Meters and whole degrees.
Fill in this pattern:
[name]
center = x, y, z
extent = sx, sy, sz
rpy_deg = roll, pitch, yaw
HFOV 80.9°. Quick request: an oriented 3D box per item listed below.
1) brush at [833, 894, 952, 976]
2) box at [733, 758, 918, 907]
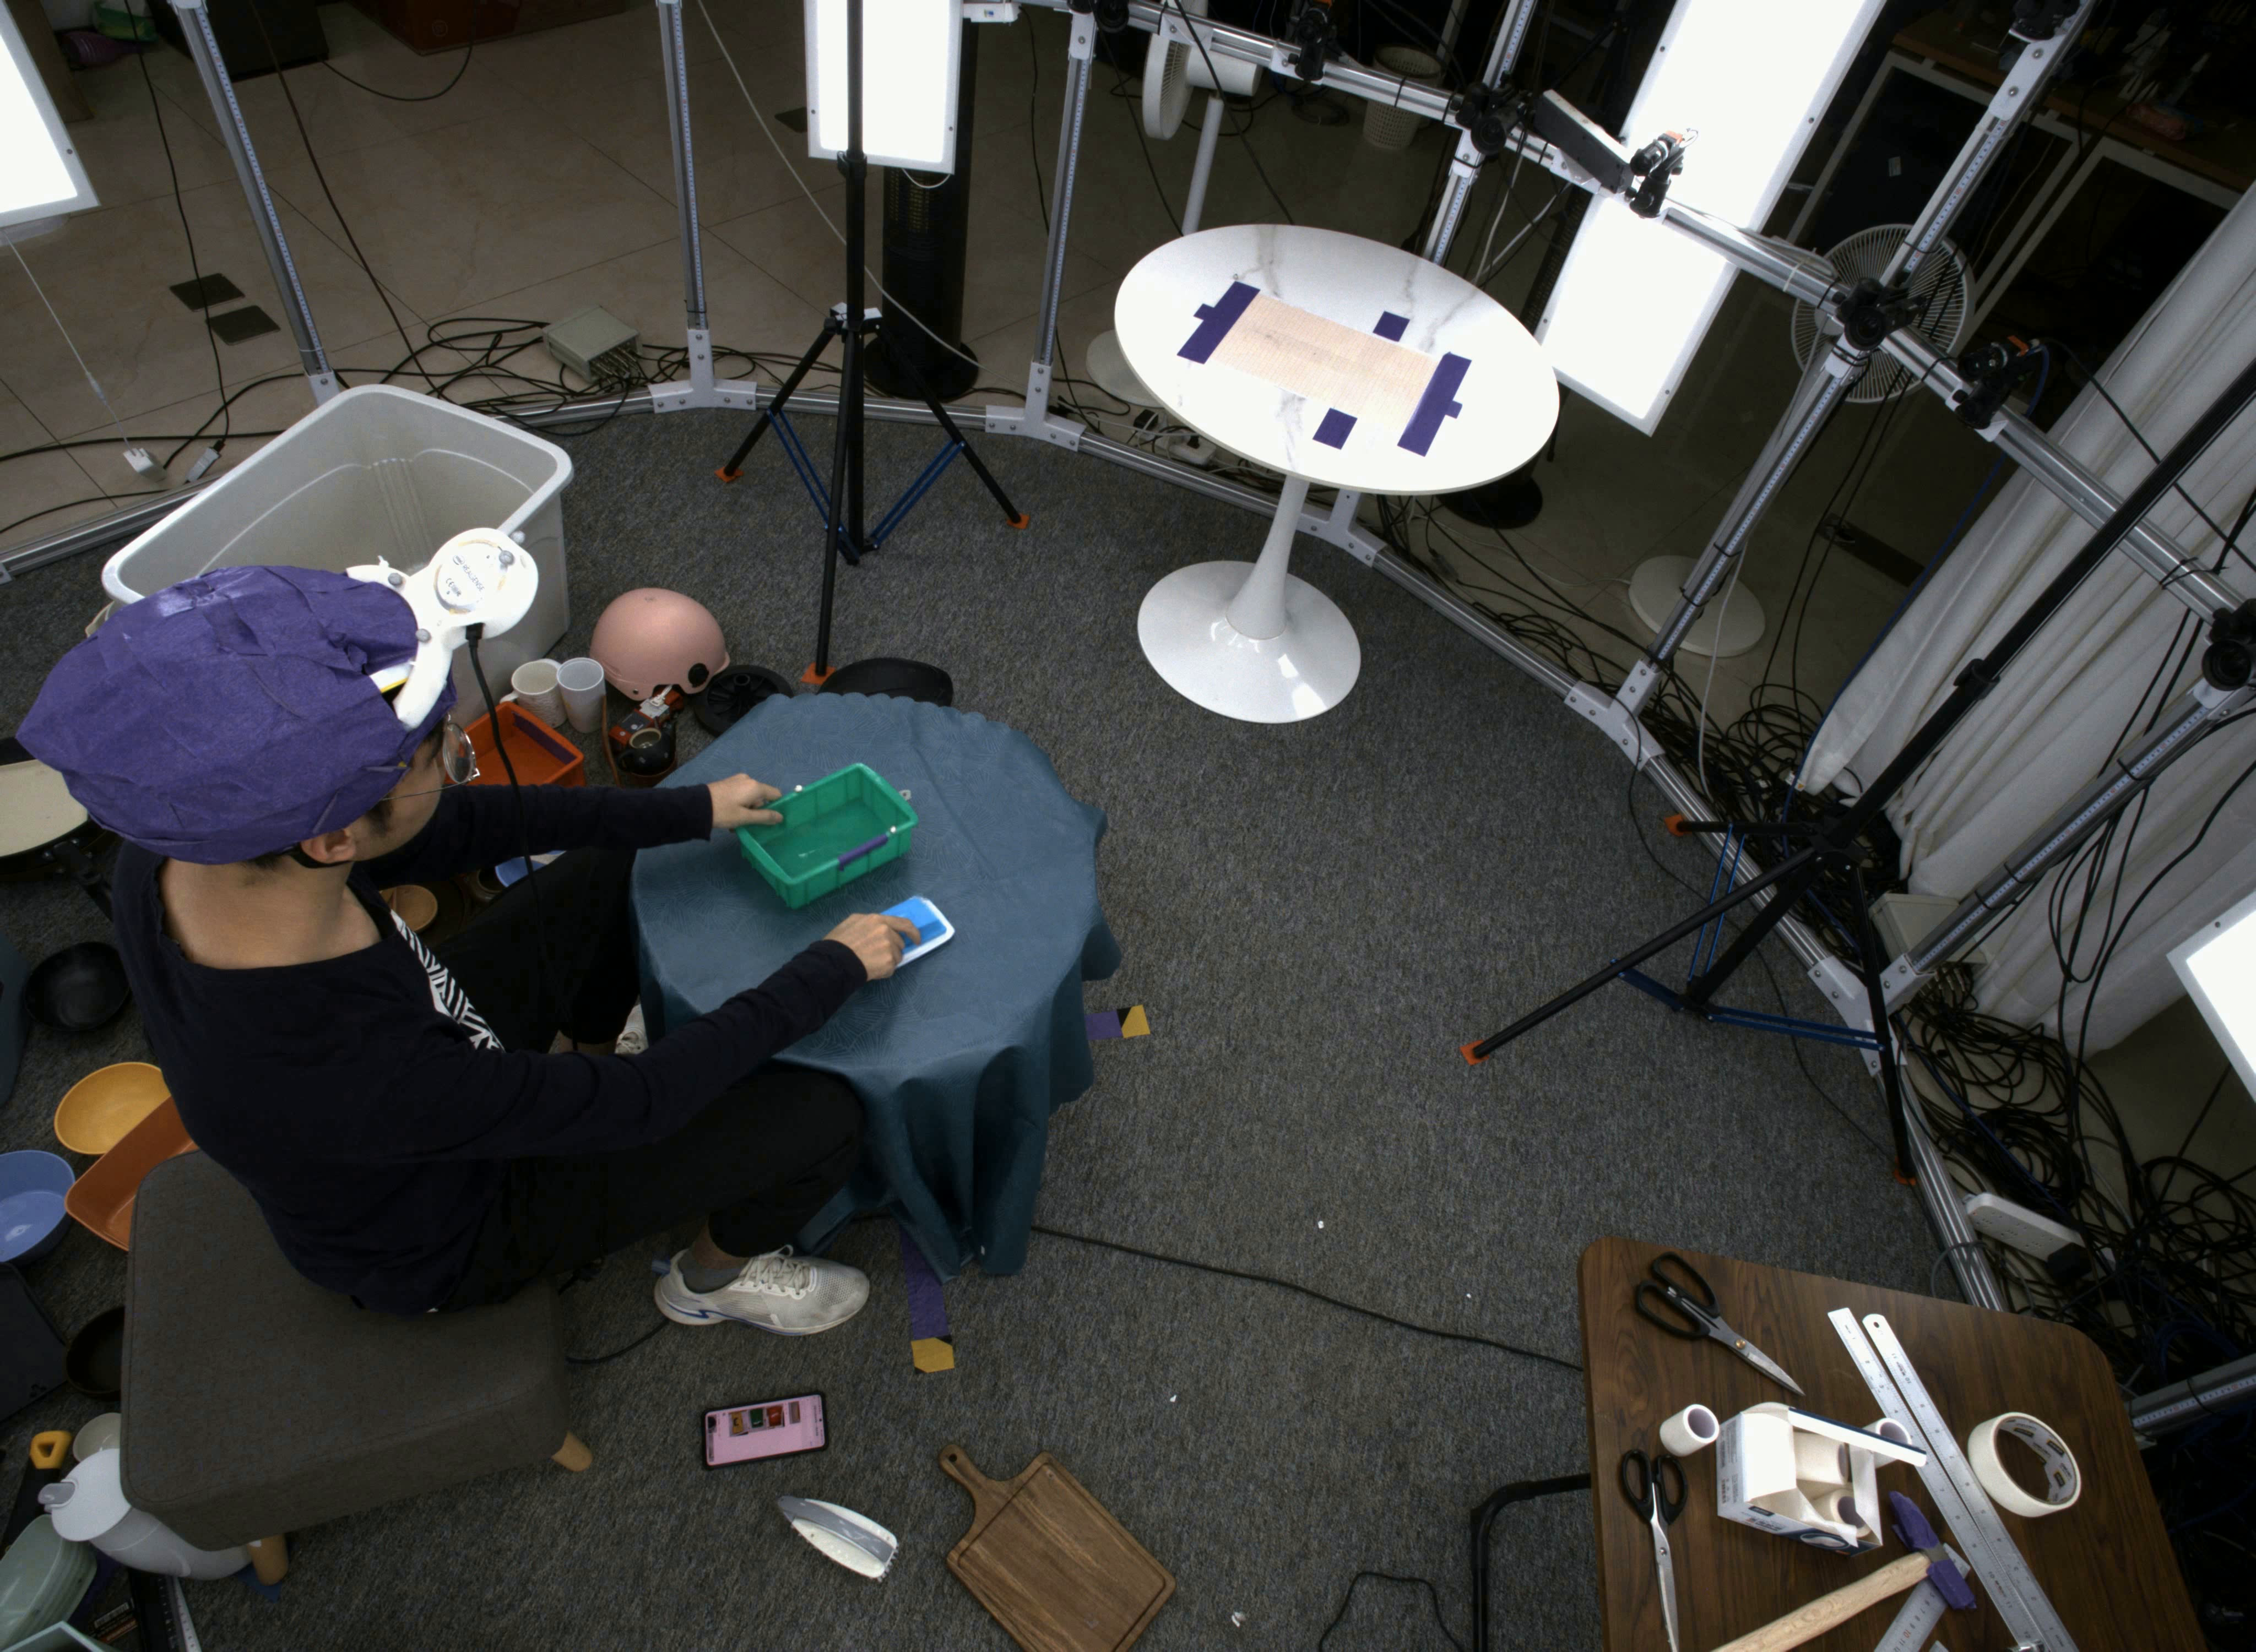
[brush]
center = -0.289, 0.125, 1.612
extent = 0.145, 0.056, 0.082
rpy_deg = -20, 61, -42
[box]
center = -0.386, 0.008, 1.668
extent = 0.211, 0.067, 0.134
rpy_deg = -31, 60, -34
